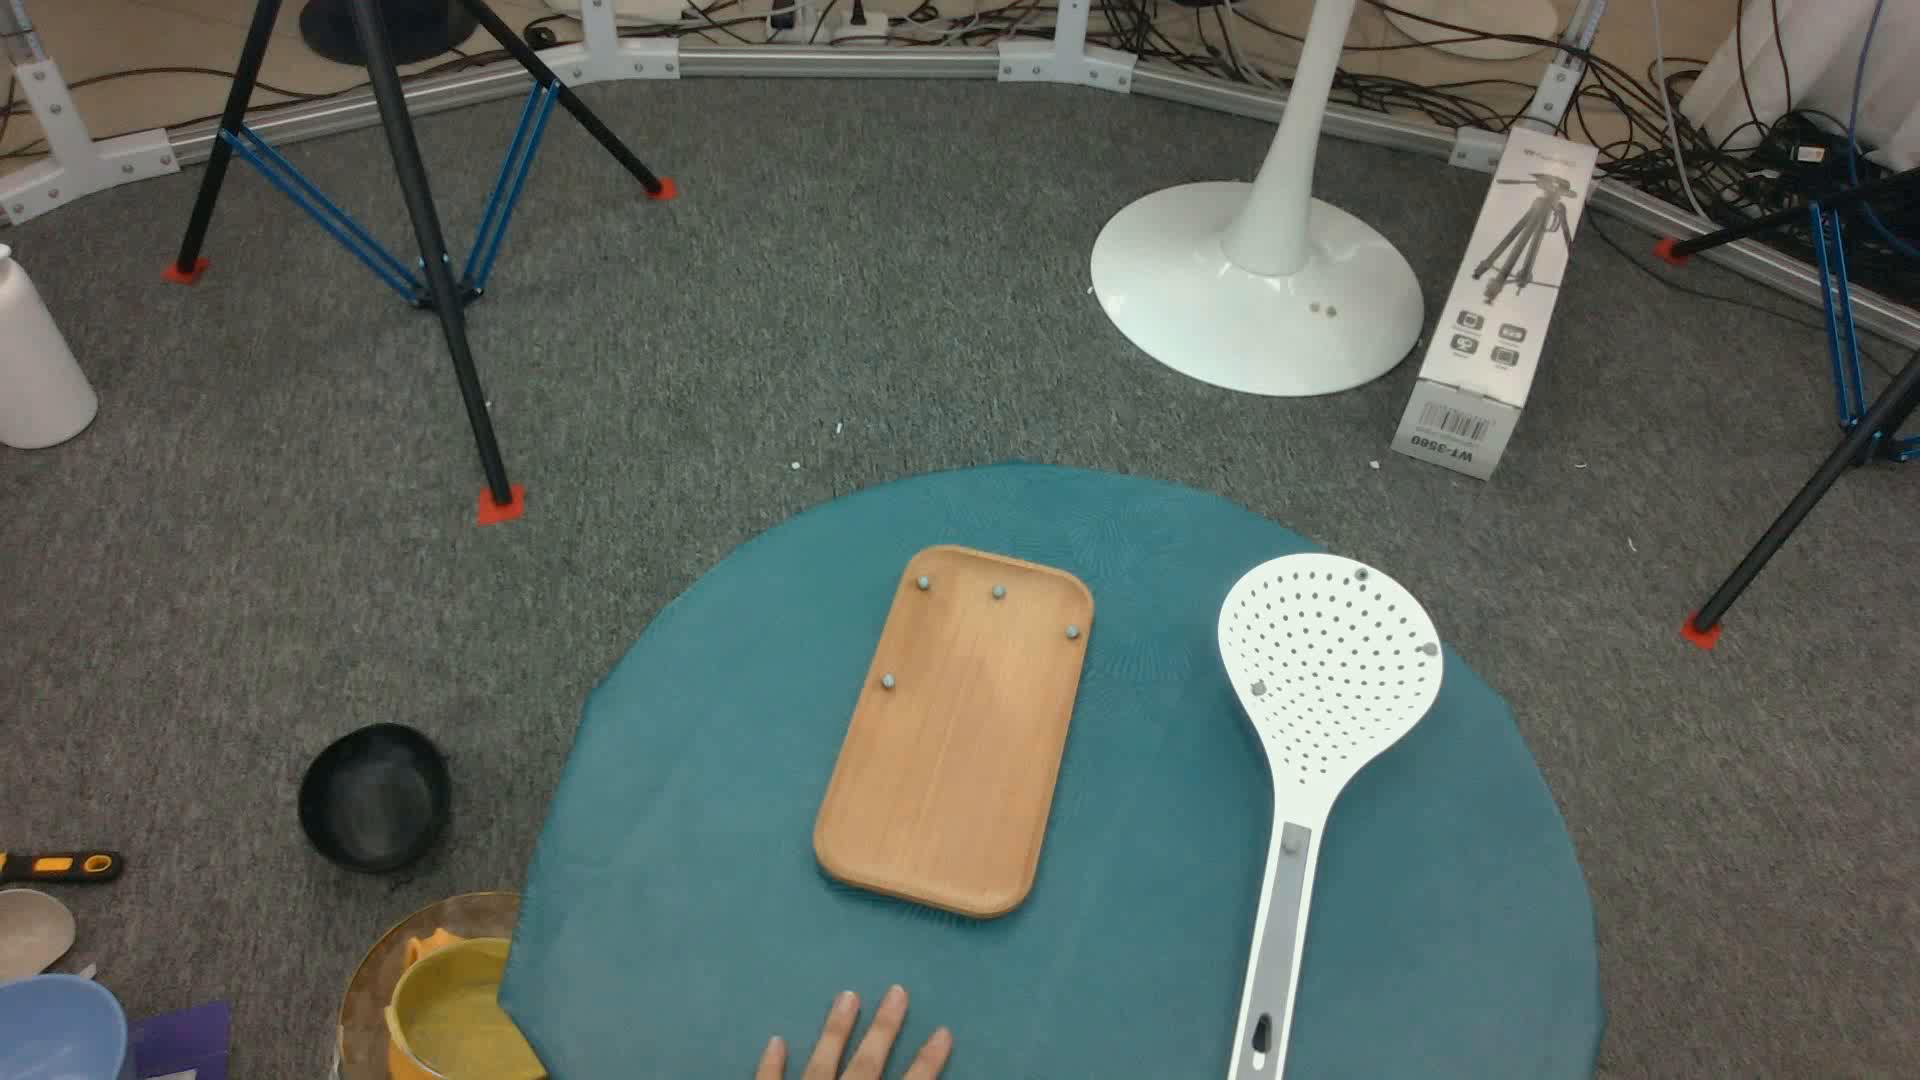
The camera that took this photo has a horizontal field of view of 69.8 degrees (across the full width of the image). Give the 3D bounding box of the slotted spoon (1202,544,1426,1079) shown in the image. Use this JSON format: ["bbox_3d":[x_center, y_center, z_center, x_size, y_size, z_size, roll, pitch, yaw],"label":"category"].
[{"bbox_3d":[0.188,0.146,0.798,0.136,0.045,0.351,15,50,9],"label":"slotted spoon"}]

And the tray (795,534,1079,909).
[{"bbox_3d":[-0.008,0.101,0.833,0.130,0.023,0.252,12,50,7],"label":"tray"}]
